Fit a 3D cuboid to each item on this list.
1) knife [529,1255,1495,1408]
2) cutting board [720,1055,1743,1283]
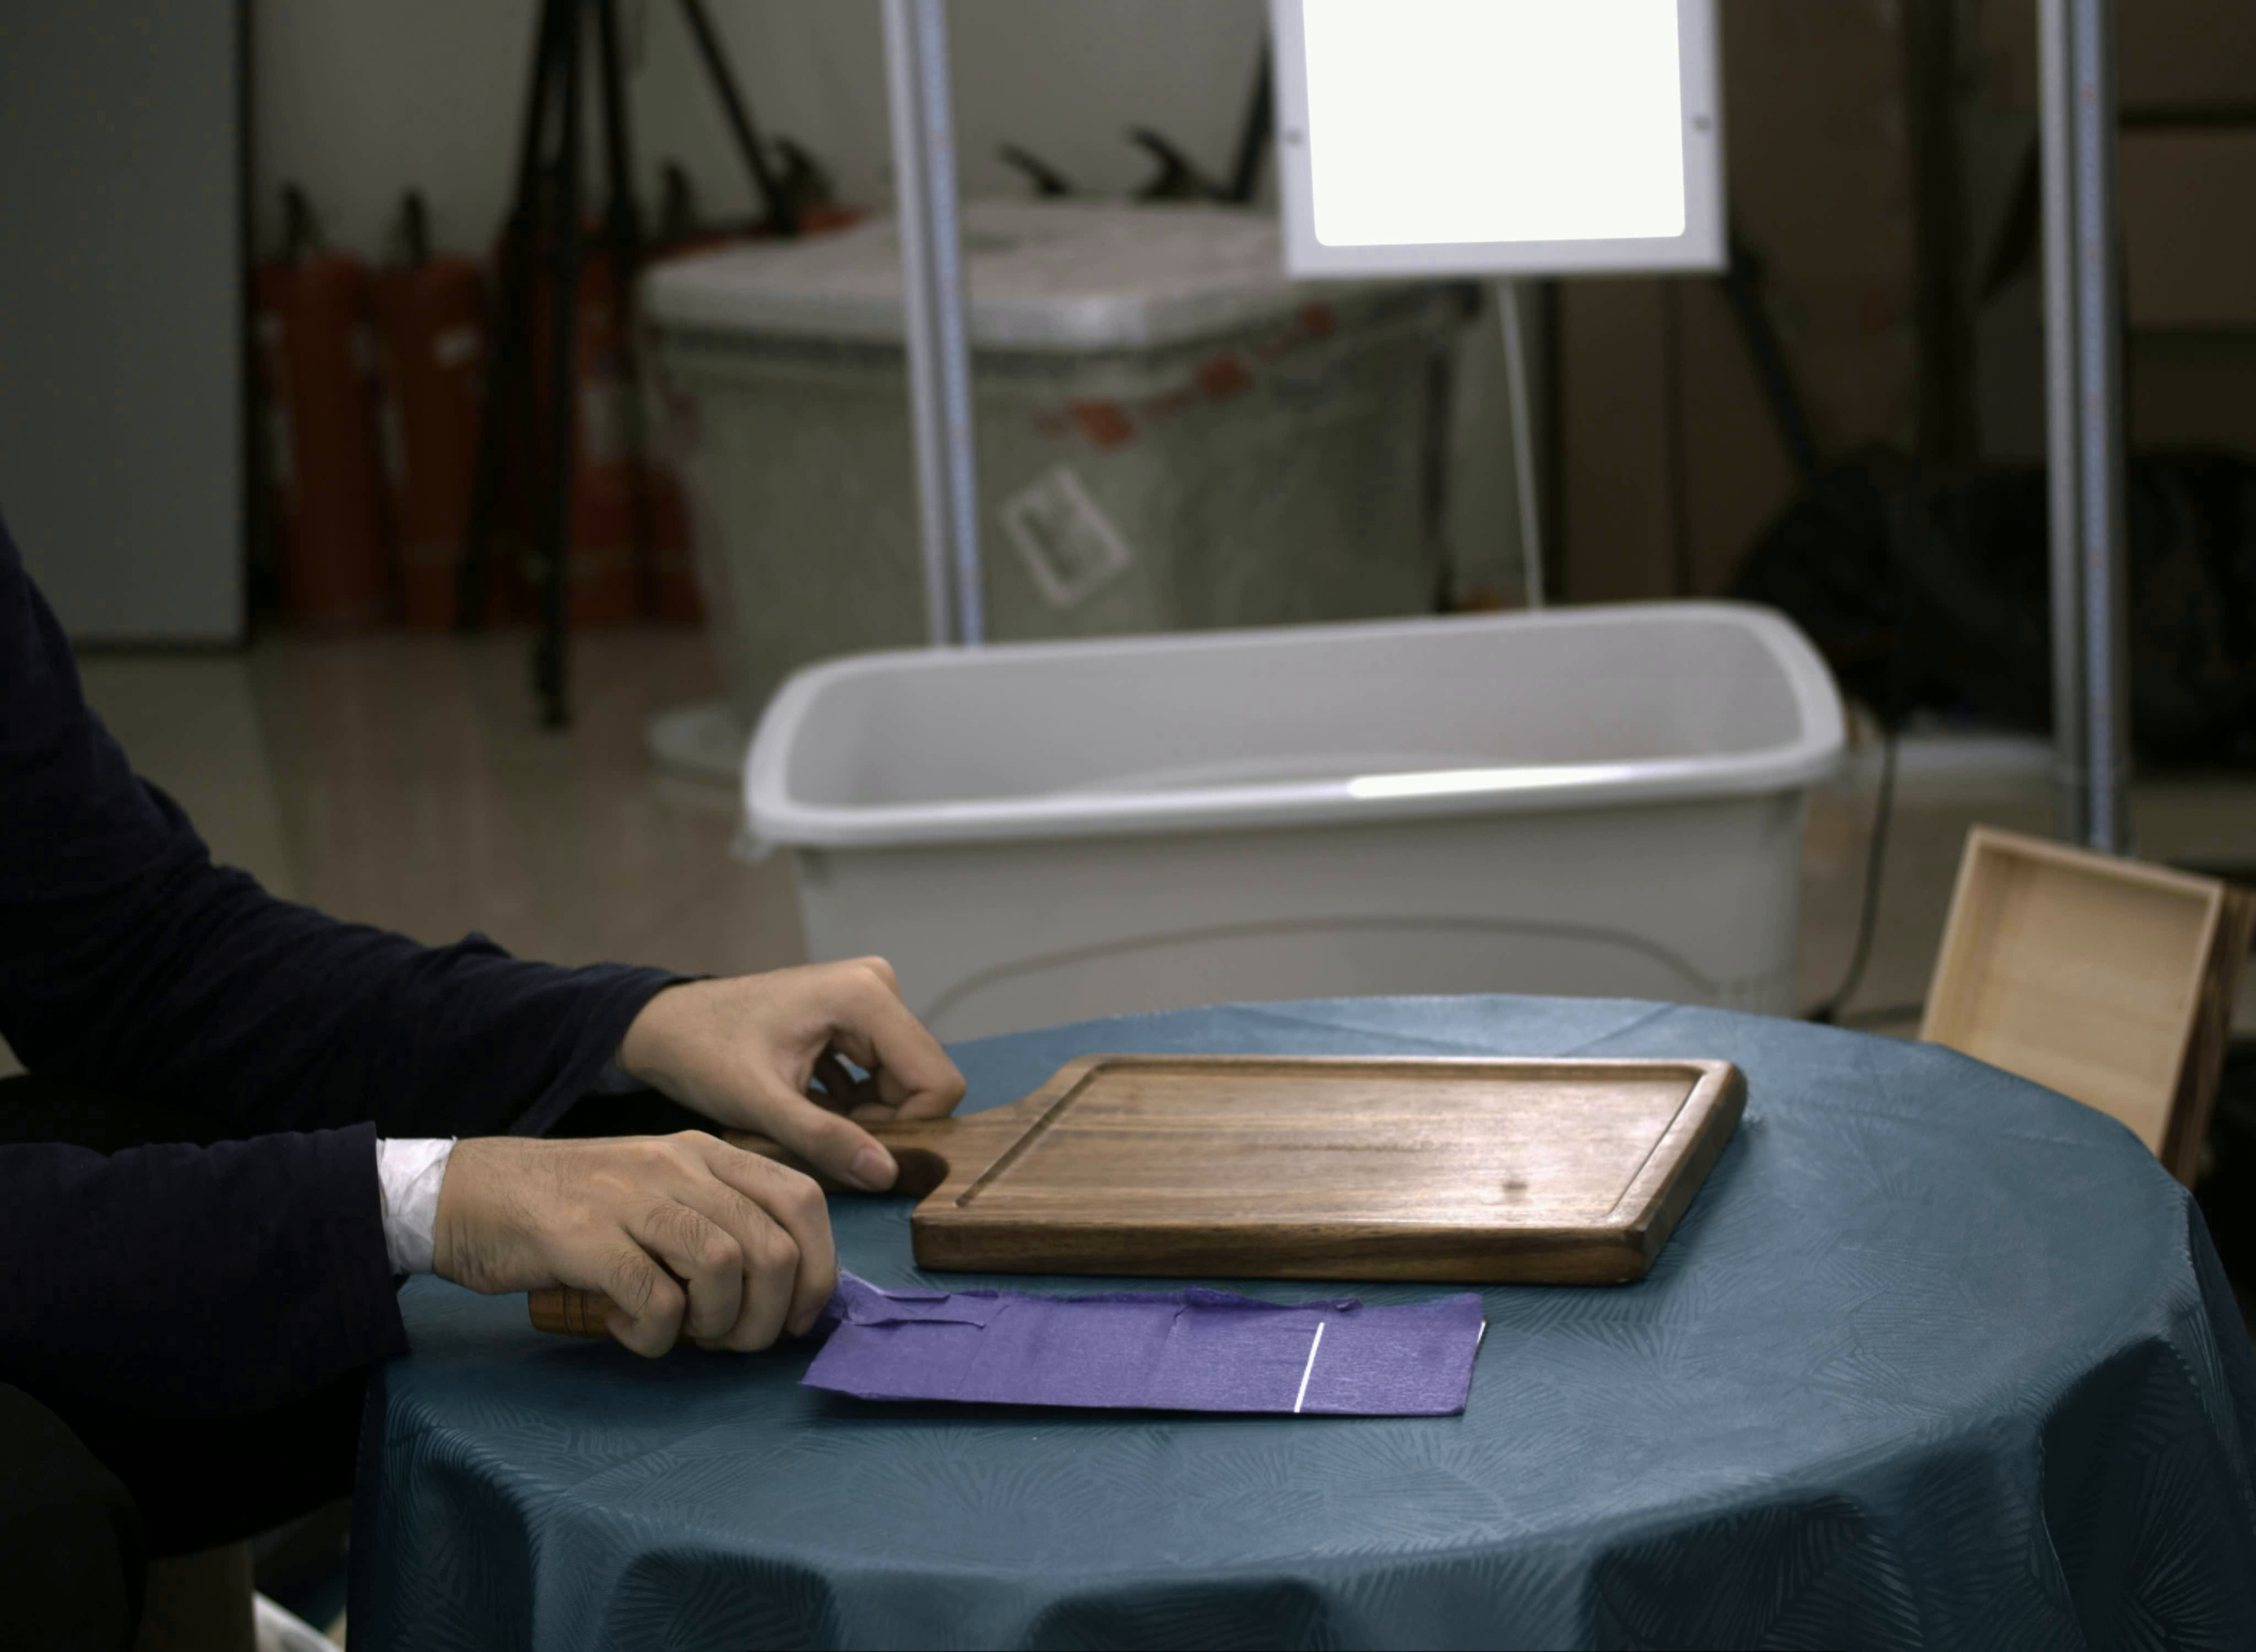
[{"bbox_3d":[-0.043,0.159,1.731,0.317,0.032,0.102,-2,14,13],"label":"knife"},{"bbox_3d":[0.025,0.115,1.898,0.356,0.023,0.198,-1,14,19],"label":"cutting board"}]
